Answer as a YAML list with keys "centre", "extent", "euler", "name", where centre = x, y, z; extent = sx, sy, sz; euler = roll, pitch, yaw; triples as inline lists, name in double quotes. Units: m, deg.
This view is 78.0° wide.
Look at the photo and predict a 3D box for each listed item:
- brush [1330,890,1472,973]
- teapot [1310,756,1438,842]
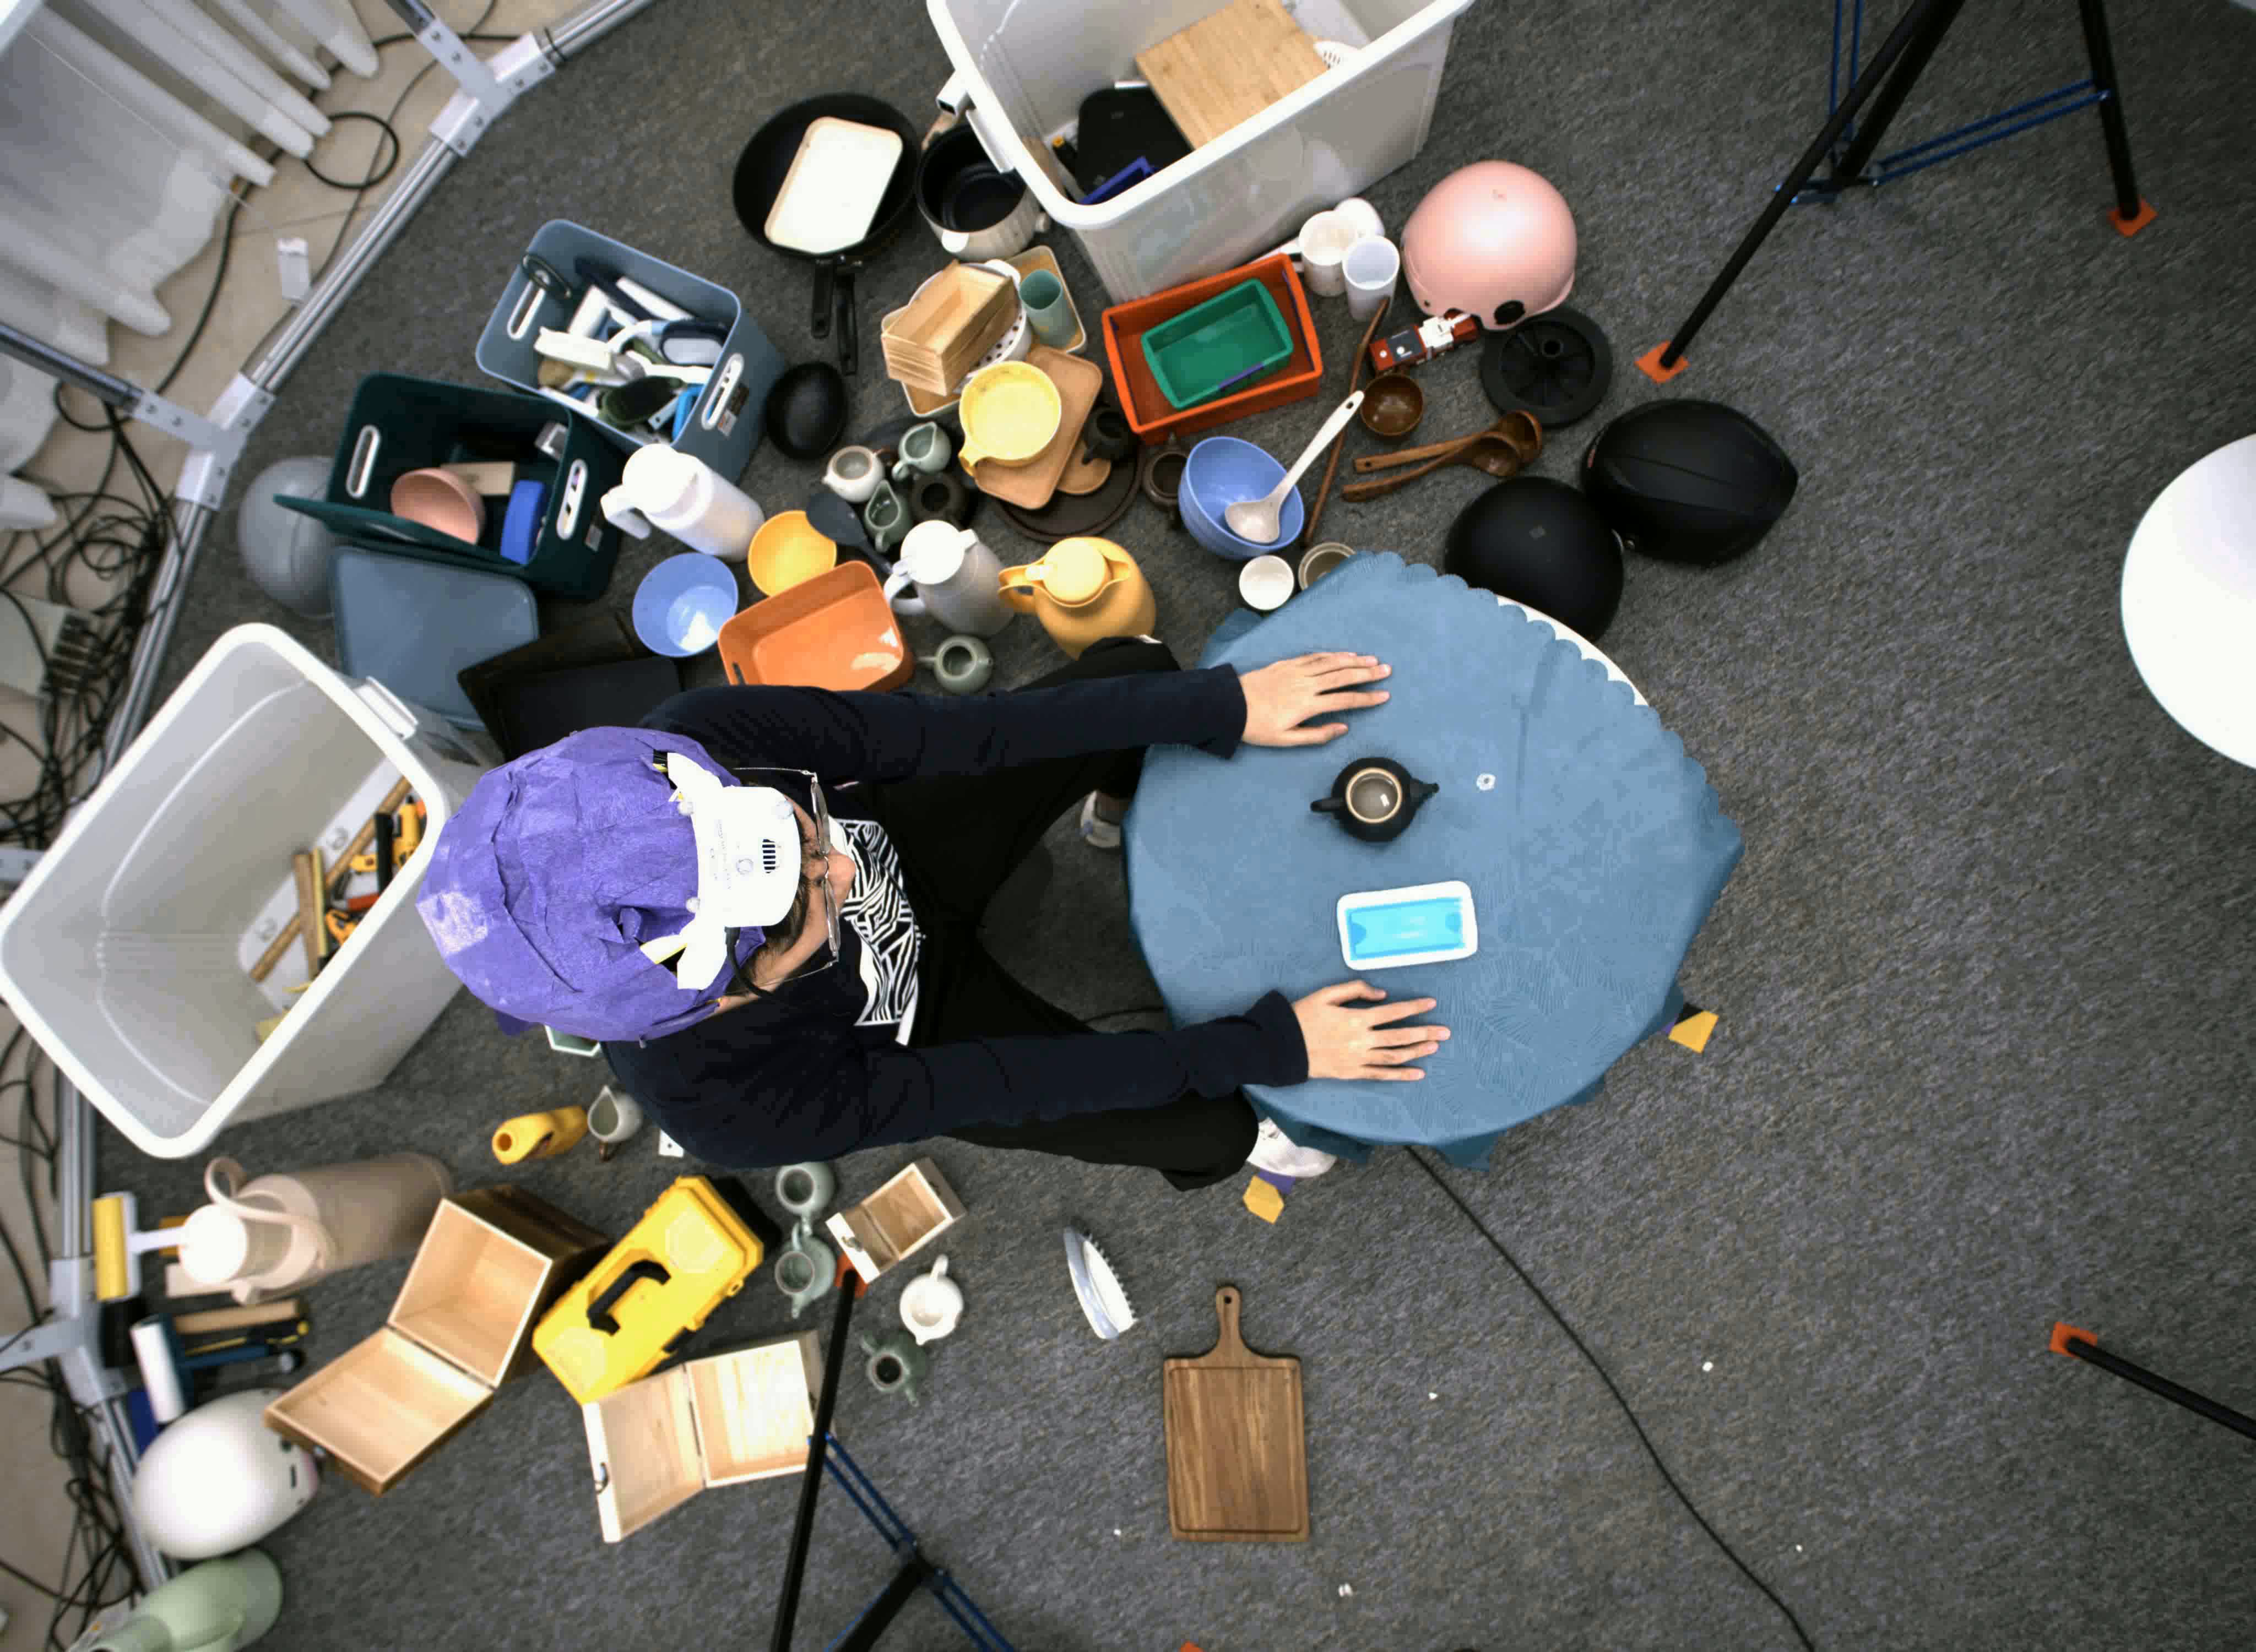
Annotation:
- centre: [0.281, 0.104, 1.423]
  extent: [0.144, 0.056, 0.083]
  euler: [-5, 82, 7]
  name: "brush"
- centre: [0.256, -0.030, 1.438]
  extent: [0.134, 0.053, 0.090]
  euler: [-8, 84, 9]
  name: "teapot"
